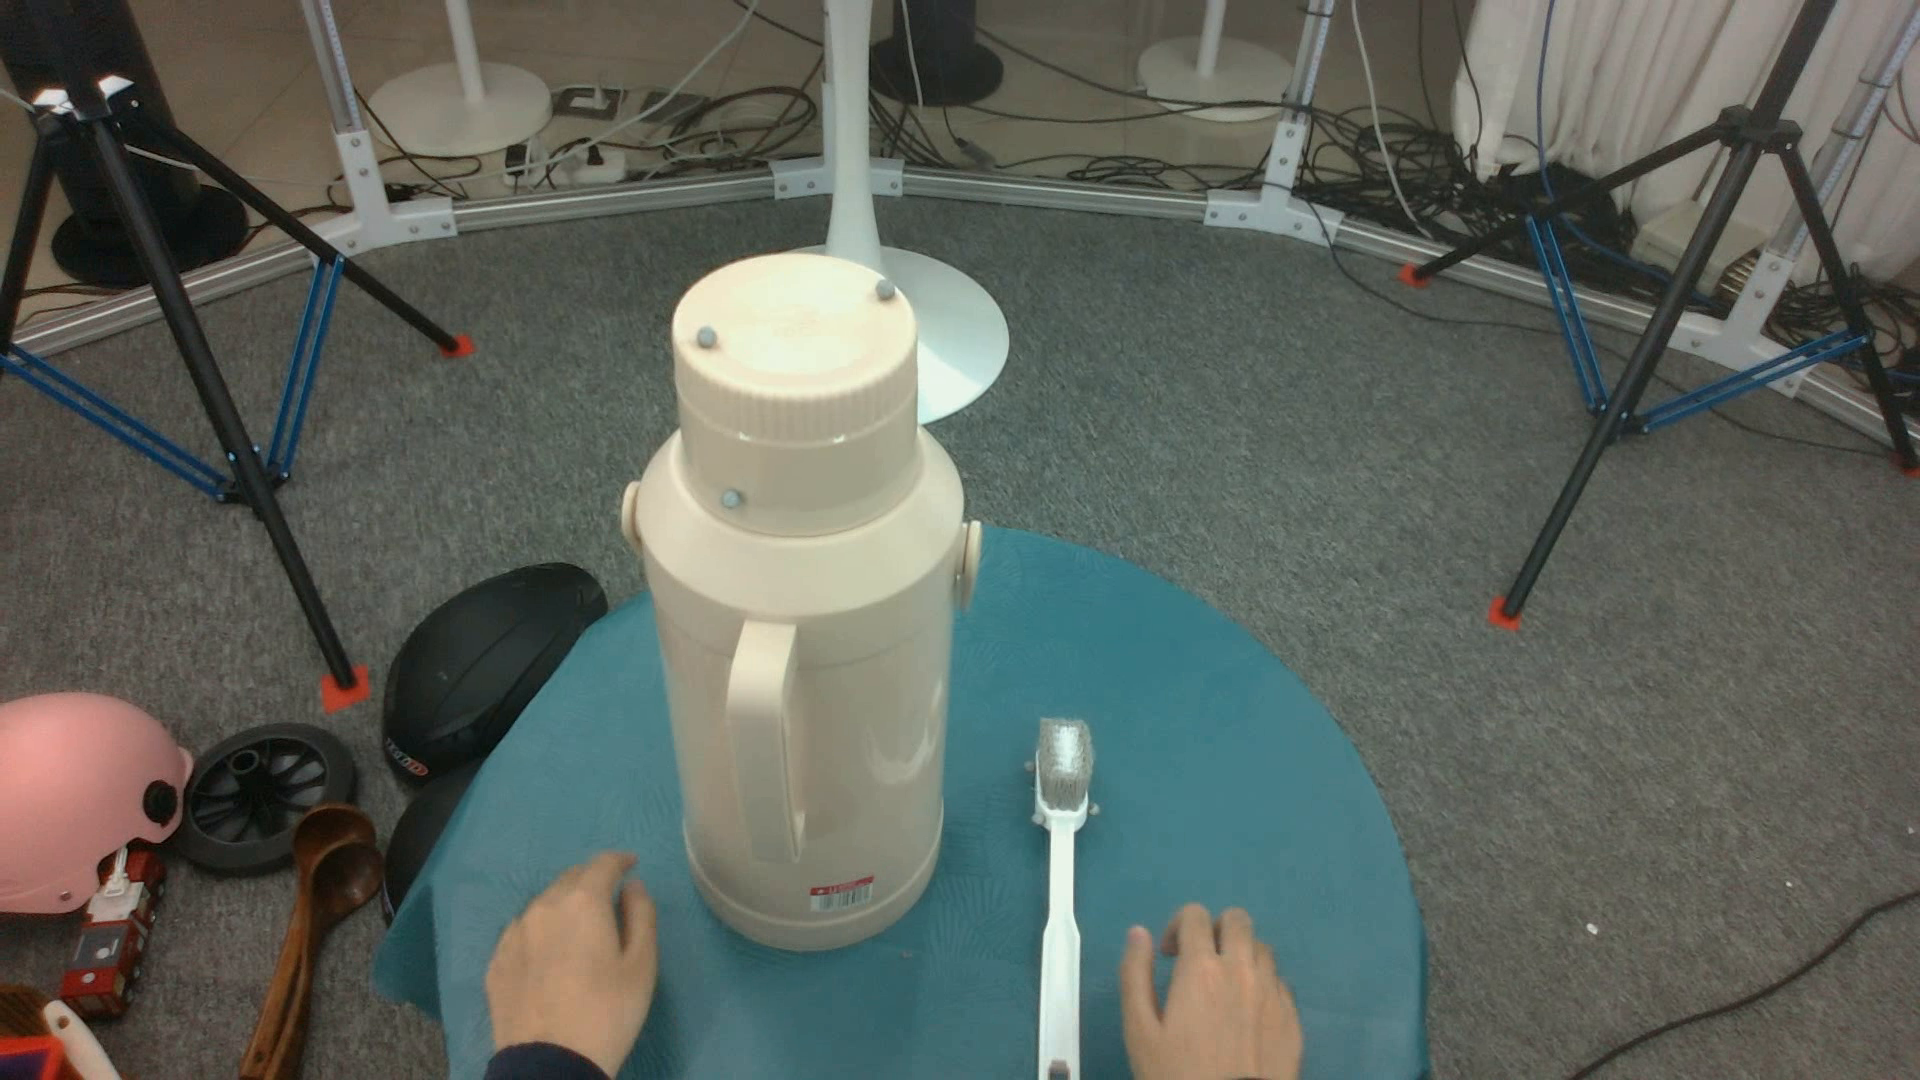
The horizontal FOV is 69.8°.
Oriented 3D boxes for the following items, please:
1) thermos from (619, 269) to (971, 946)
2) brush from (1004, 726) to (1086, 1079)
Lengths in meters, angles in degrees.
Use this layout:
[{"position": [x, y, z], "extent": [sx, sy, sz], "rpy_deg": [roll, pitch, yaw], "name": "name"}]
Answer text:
[{"position": [-0.090, 0.061, 0.735], "extent": [0.175, 0.404, 0.208], "rpy_deg": [7, 45, 0], "name": "thermos"}, {"position": [0.052, 0.215, 0.838], "extent": [0.034, 0.050, 0.245], "rpy_deg": [11, 44, -2], "name": "brush"}]
